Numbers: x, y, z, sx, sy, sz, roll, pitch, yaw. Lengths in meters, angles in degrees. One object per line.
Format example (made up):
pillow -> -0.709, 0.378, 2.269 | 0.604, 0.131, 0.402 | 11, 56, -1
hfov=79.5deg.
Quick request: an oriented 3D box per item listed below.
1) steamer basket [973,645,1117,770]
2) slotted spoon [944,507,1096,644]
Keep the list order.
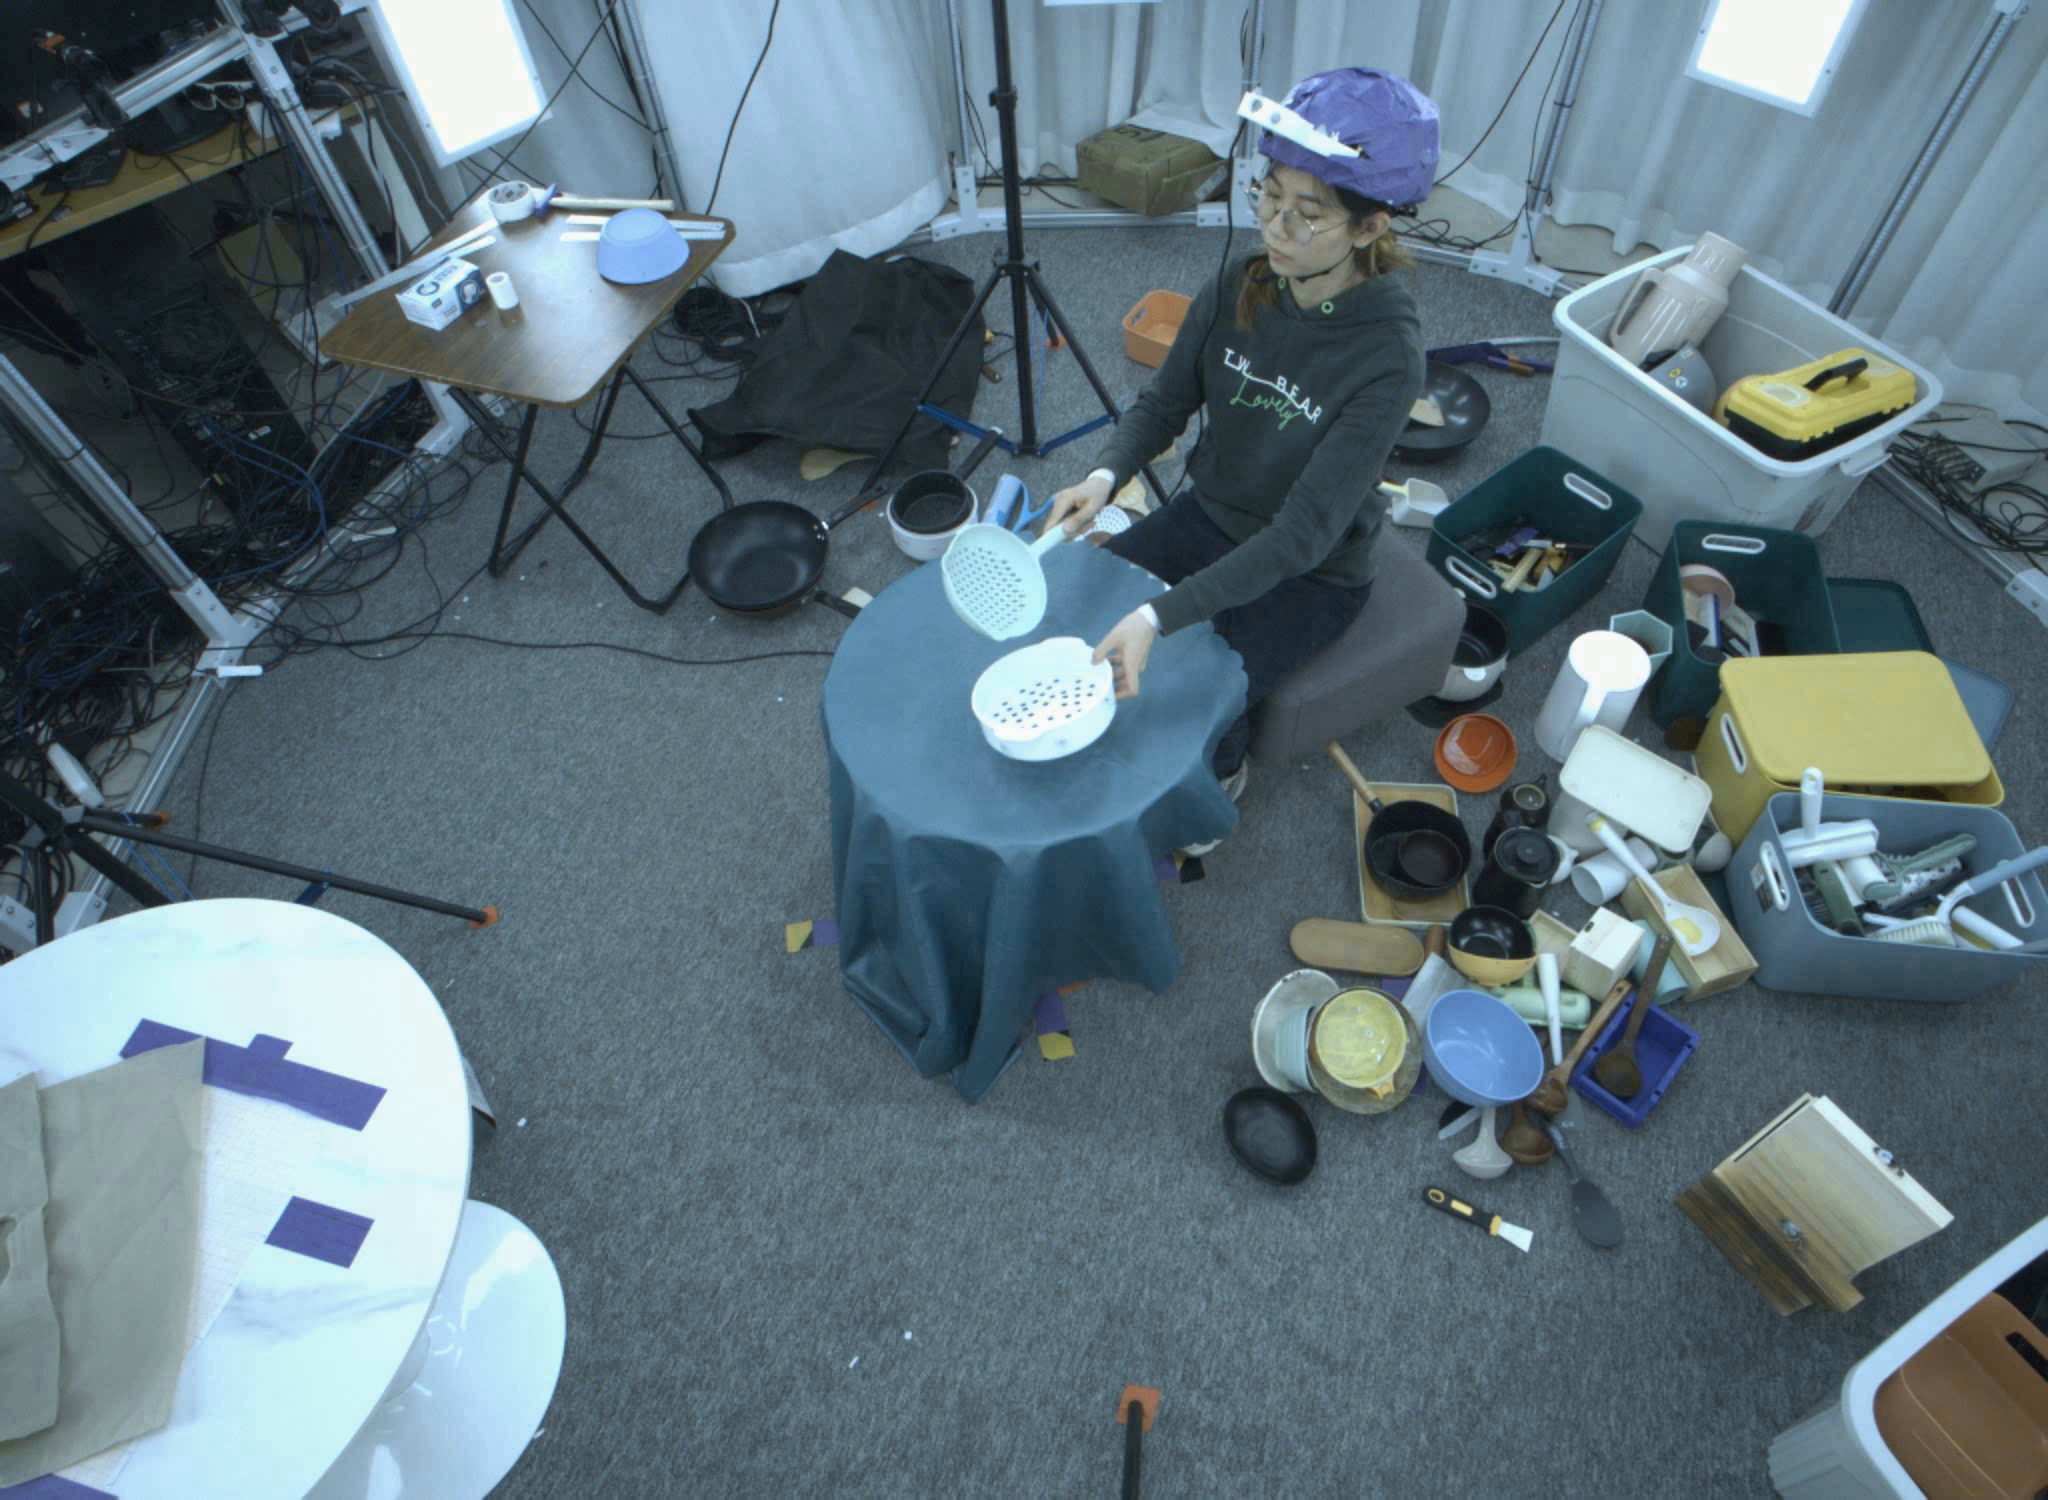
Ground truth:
steamer basket -> 0.032, -0.057, 1.736 | 0.199, 0.070, 0.230 | 3, 43, 19
slotted spoon -> 0.013, -0.282, 1.785 | 0.362, 0.074, 0.171 | -42, 104, -33
